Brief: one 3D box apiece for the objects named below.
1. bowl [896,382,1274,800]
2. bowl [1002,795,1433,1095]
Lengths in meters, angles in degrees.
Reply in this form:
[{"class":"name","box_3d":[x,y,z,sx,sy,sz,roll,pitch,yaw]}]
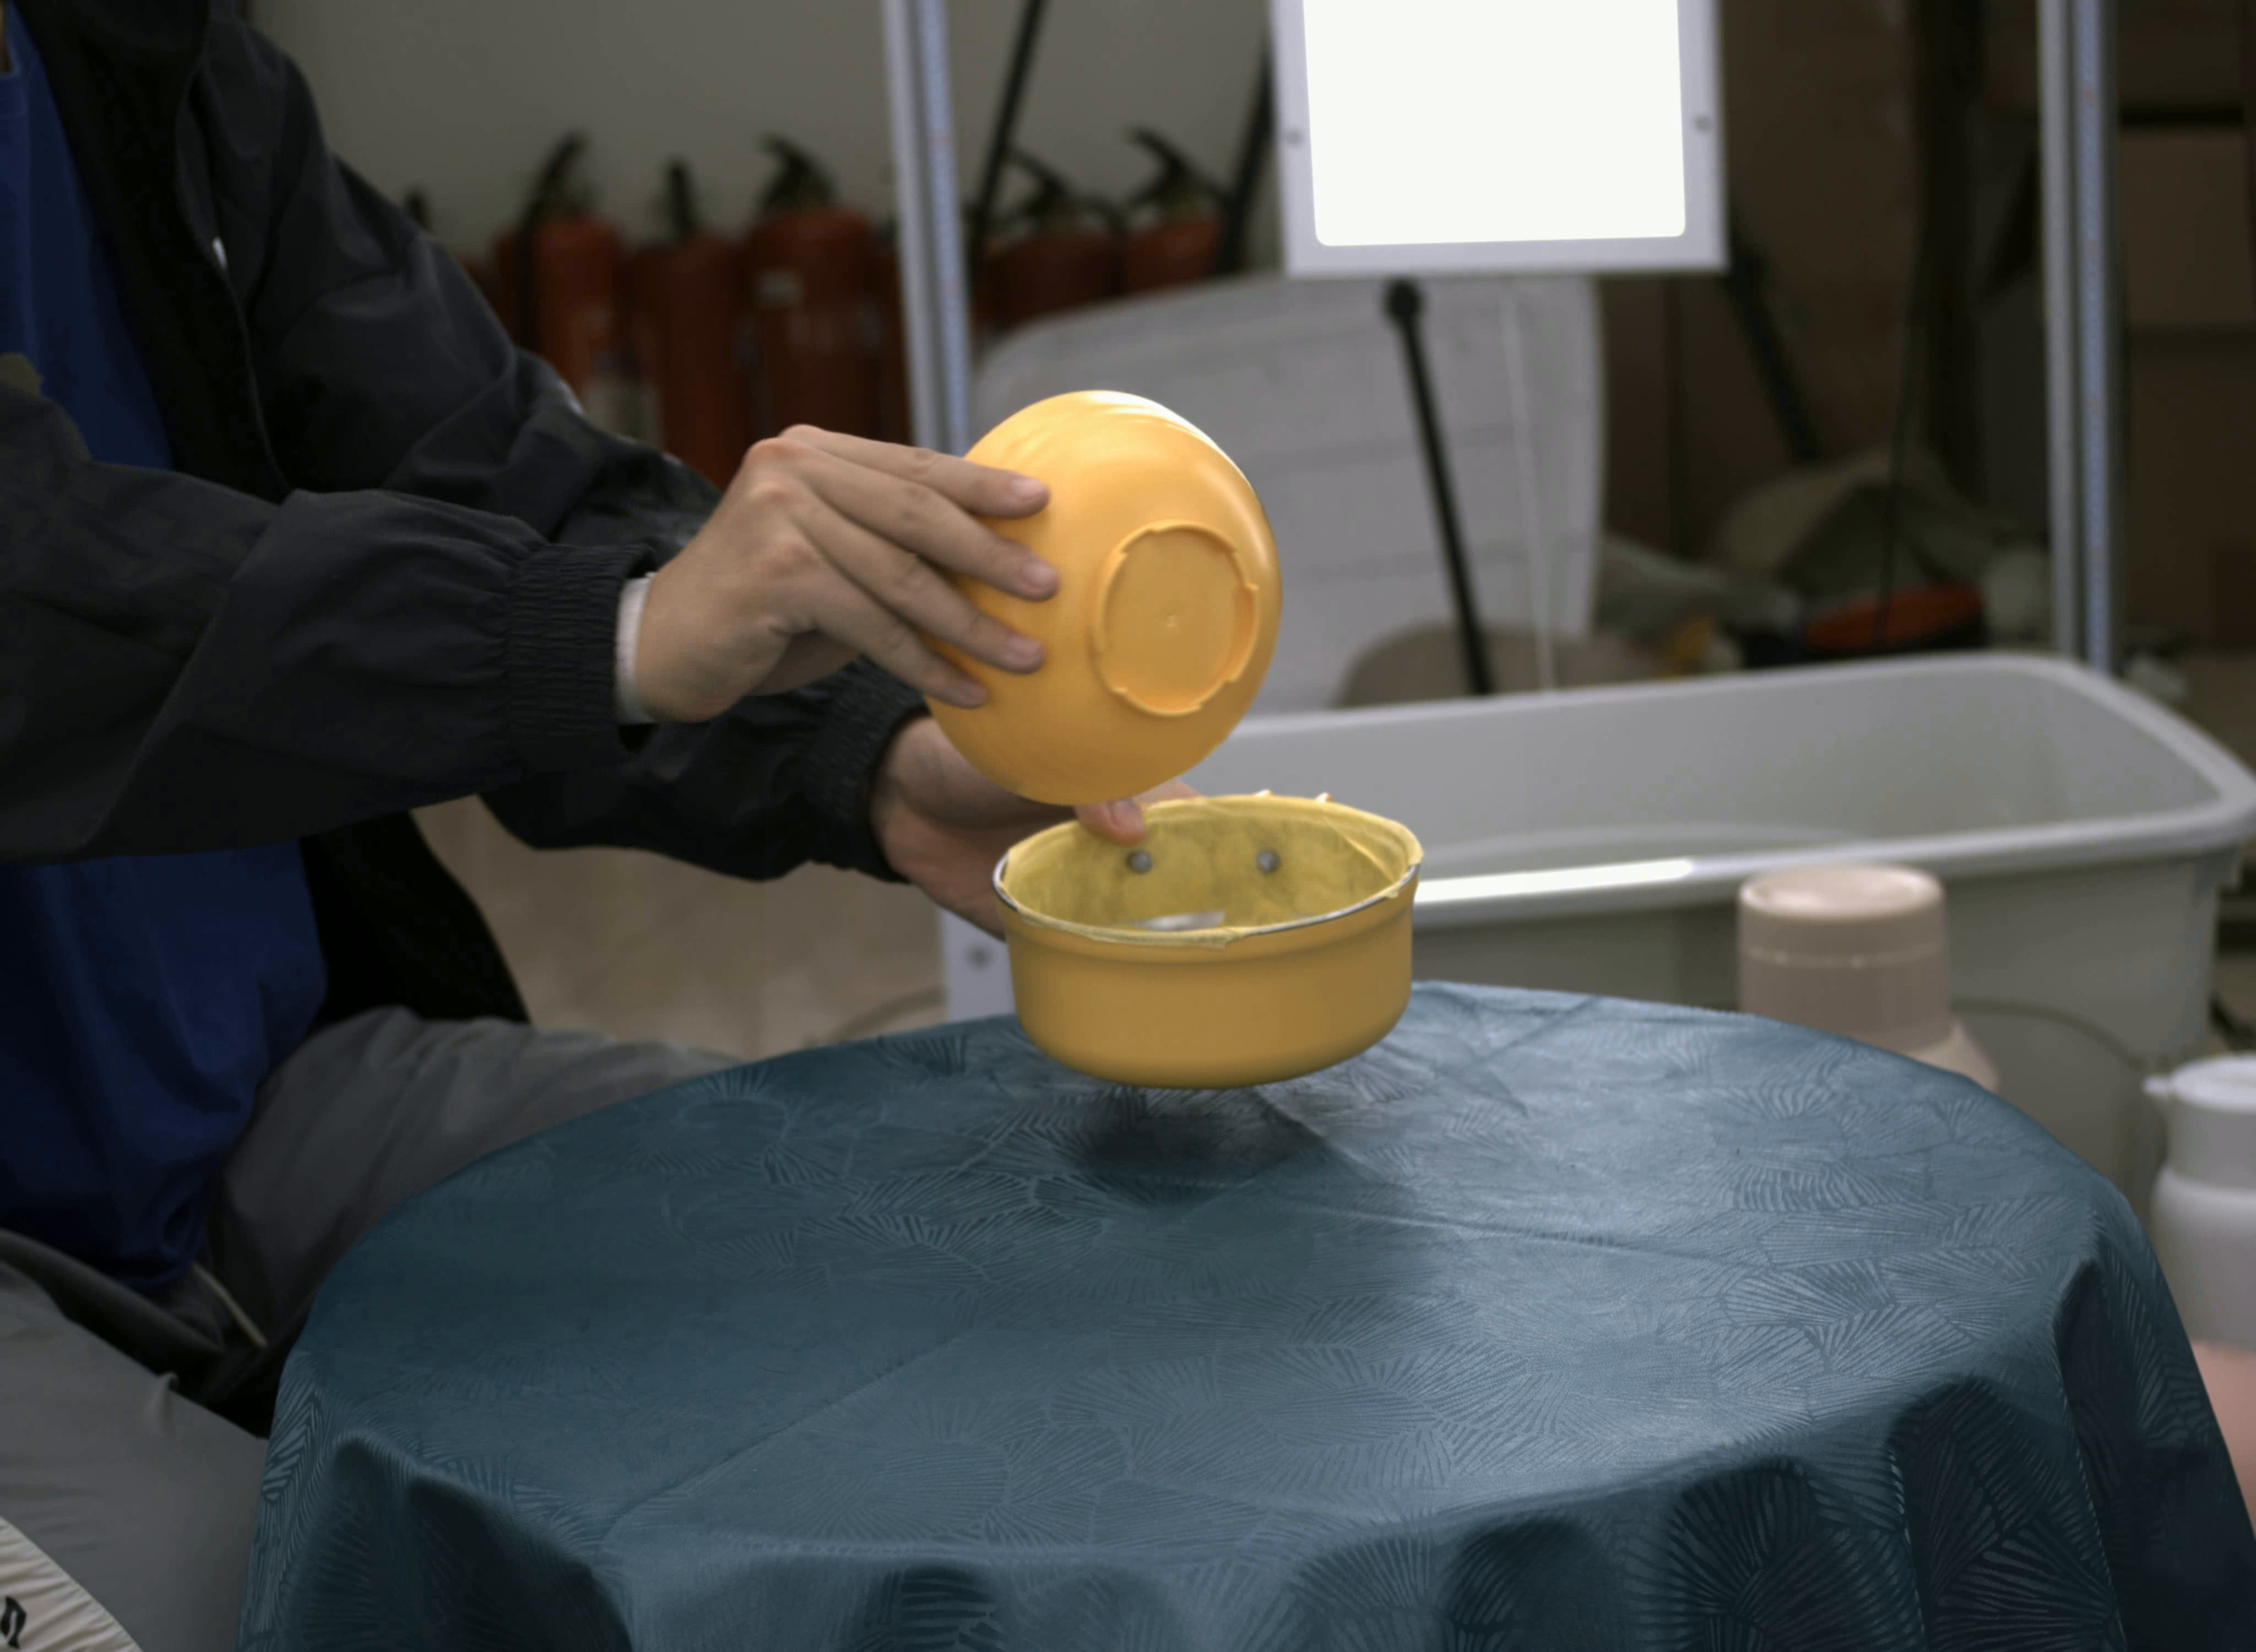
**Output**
[{"class":"bowl","box_3d":[-0.002,-0.075,1.866,0.142,0.146,0.061,-11,17,-27]},{"class":"bowl","box_3d":[0.038,0.040,1.962,0.155,0.074,0.176,1,20,19]}]
